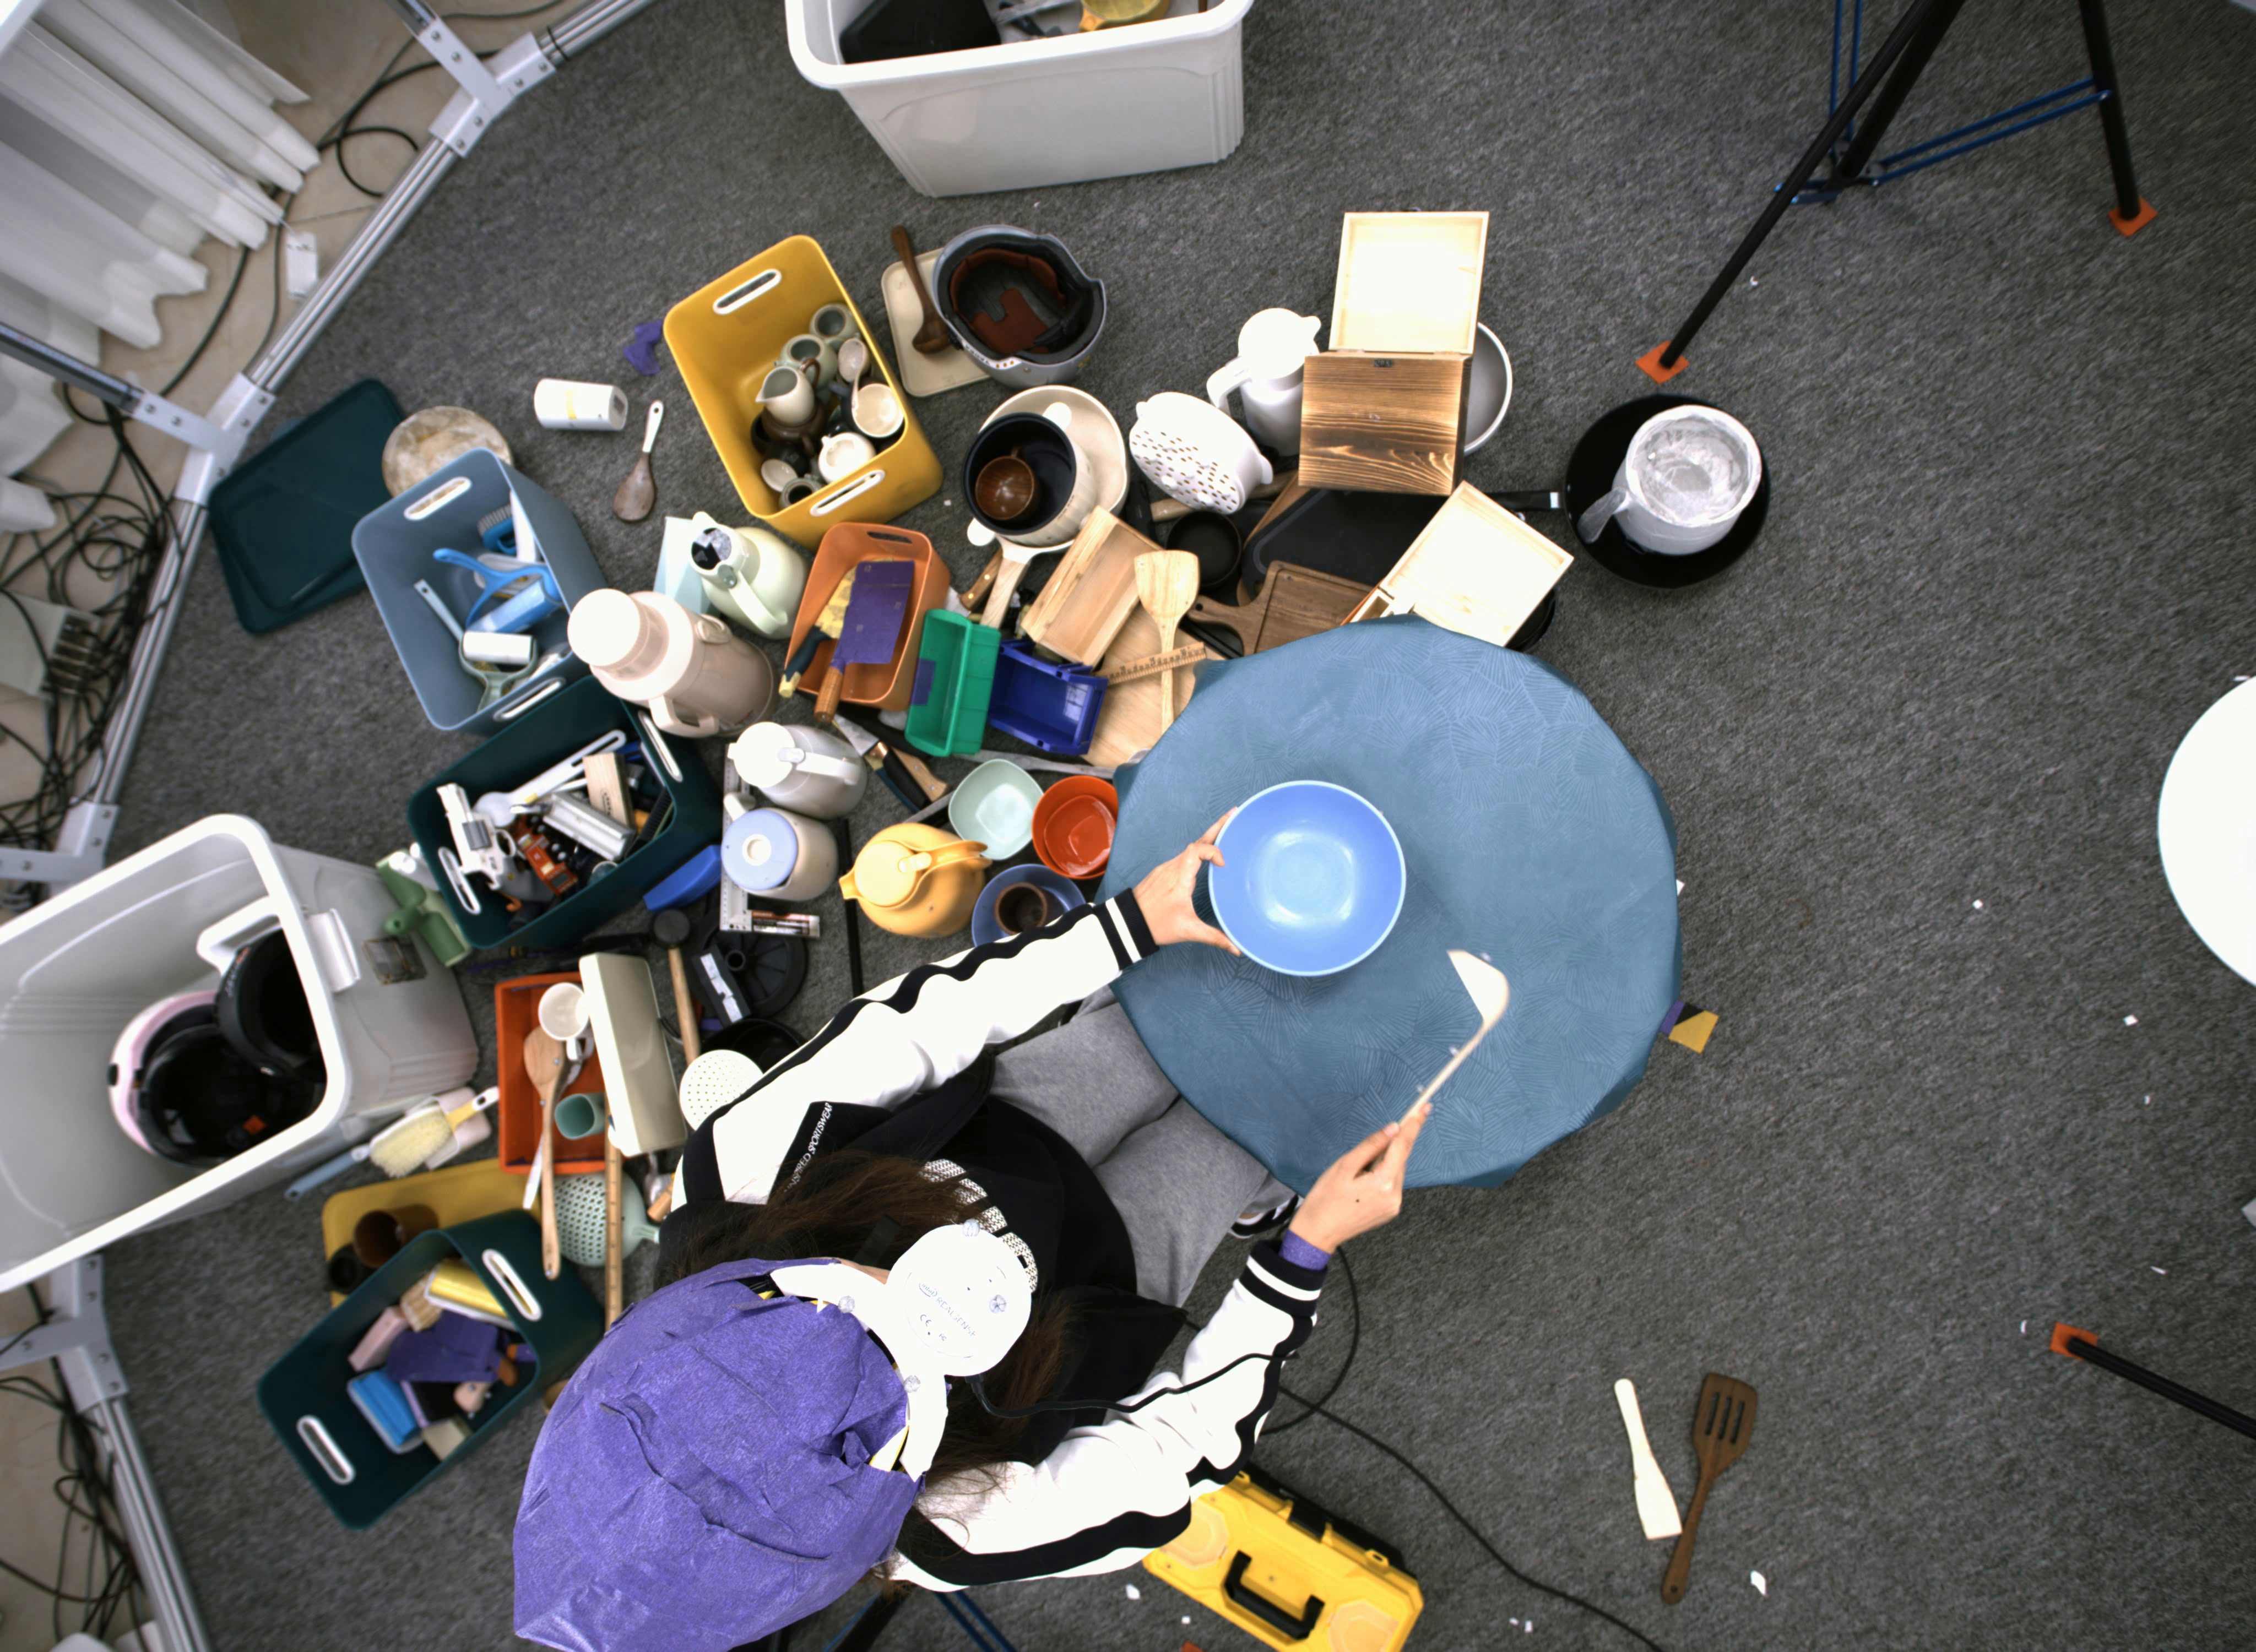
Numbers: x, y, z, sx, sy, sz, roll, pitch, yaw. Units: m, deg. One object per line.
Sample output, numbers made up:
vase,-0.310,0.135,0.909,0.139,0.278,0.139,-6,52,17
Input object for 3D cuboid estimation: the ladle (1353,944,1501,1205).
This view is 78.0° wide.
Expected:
ladle,0.252,0.222,1.271,0.073,0.072,0.255,35,93,5

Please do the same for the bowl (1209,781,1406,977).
bowl,0.184,0.053,1.429,0.197,0.095,0.196,0,91,6
